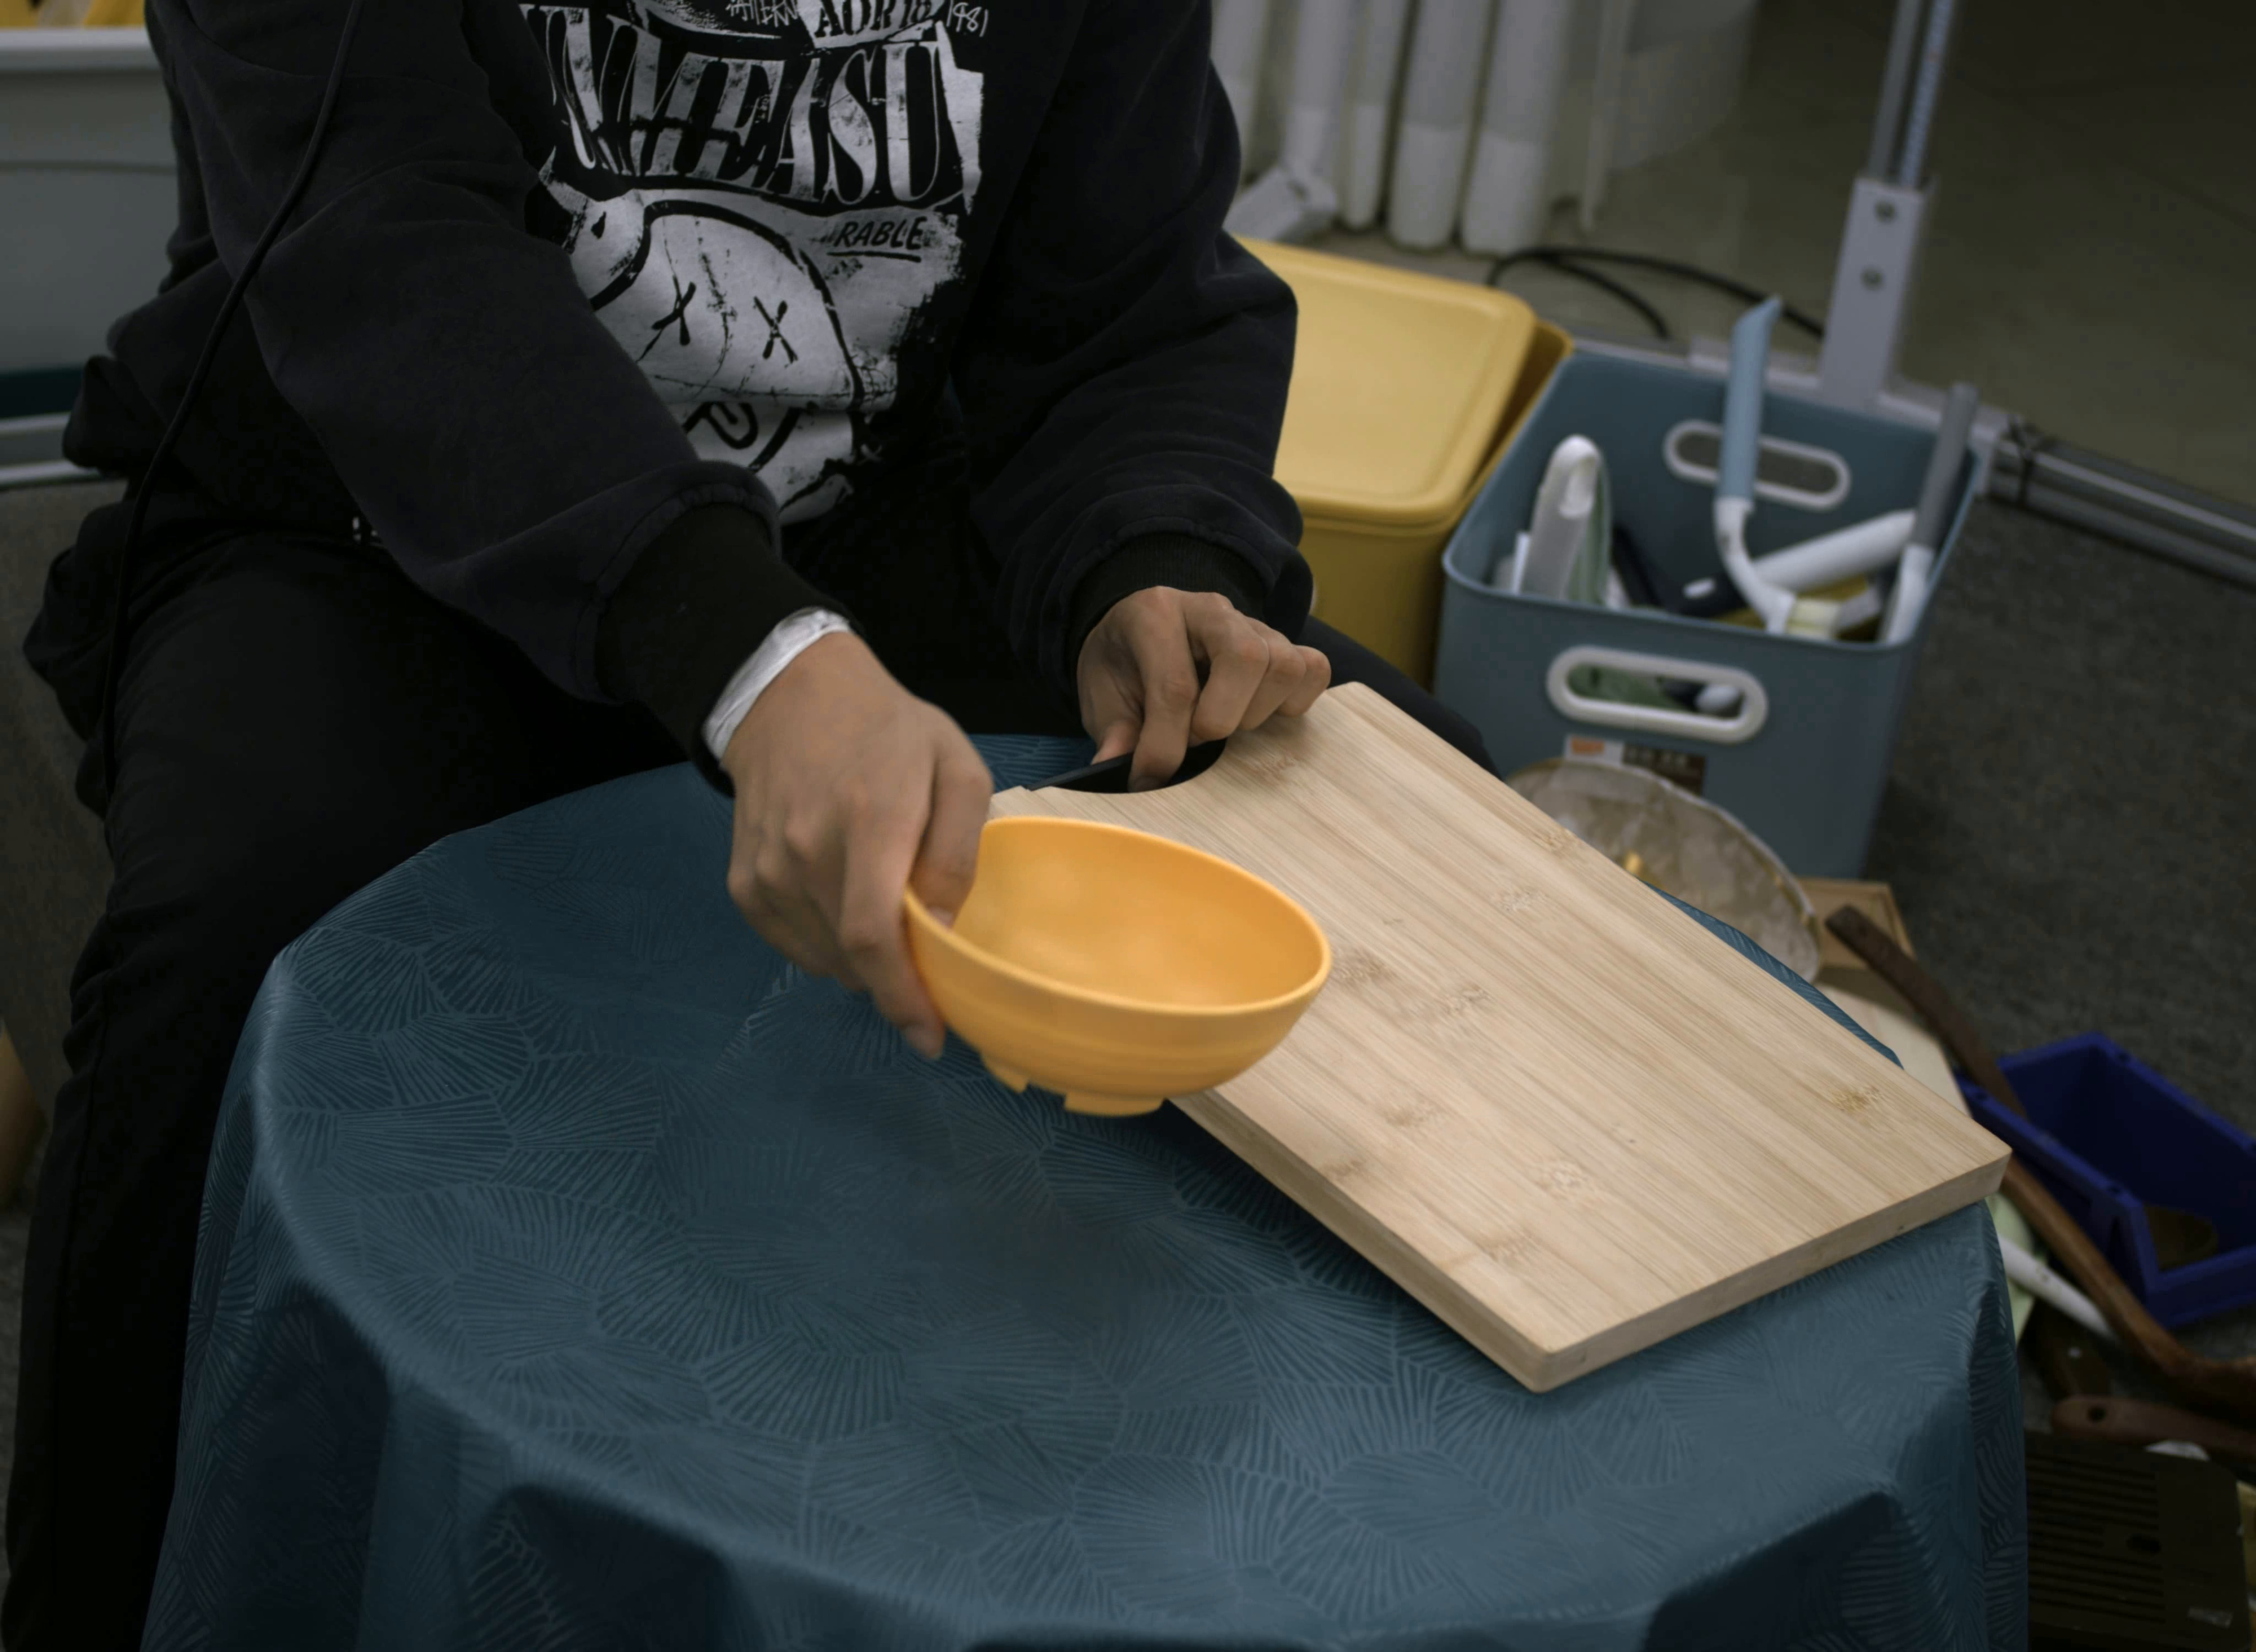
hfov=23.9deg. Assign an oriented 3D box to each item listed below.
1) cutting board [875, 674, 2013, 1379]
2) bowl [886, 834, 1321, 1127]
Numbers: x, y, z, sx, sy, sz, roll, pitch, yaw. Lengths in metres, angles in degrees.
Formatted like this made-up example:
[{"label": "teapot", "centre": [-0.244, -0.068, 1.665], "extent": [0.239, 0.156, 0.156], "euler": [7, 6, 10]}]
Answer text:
[{"label": "cutting board", "centre": [0.108, 0.062, 1.885], "extent": [0.249, 0.023, 0.351], "euler": [-18, 42, -40]}, {"label": "bowl", "centre": [-0.013, 0.057, 1.725], "extent": [0.145, 0.060, 0.146], "euler": [11, 20, -4]}]
